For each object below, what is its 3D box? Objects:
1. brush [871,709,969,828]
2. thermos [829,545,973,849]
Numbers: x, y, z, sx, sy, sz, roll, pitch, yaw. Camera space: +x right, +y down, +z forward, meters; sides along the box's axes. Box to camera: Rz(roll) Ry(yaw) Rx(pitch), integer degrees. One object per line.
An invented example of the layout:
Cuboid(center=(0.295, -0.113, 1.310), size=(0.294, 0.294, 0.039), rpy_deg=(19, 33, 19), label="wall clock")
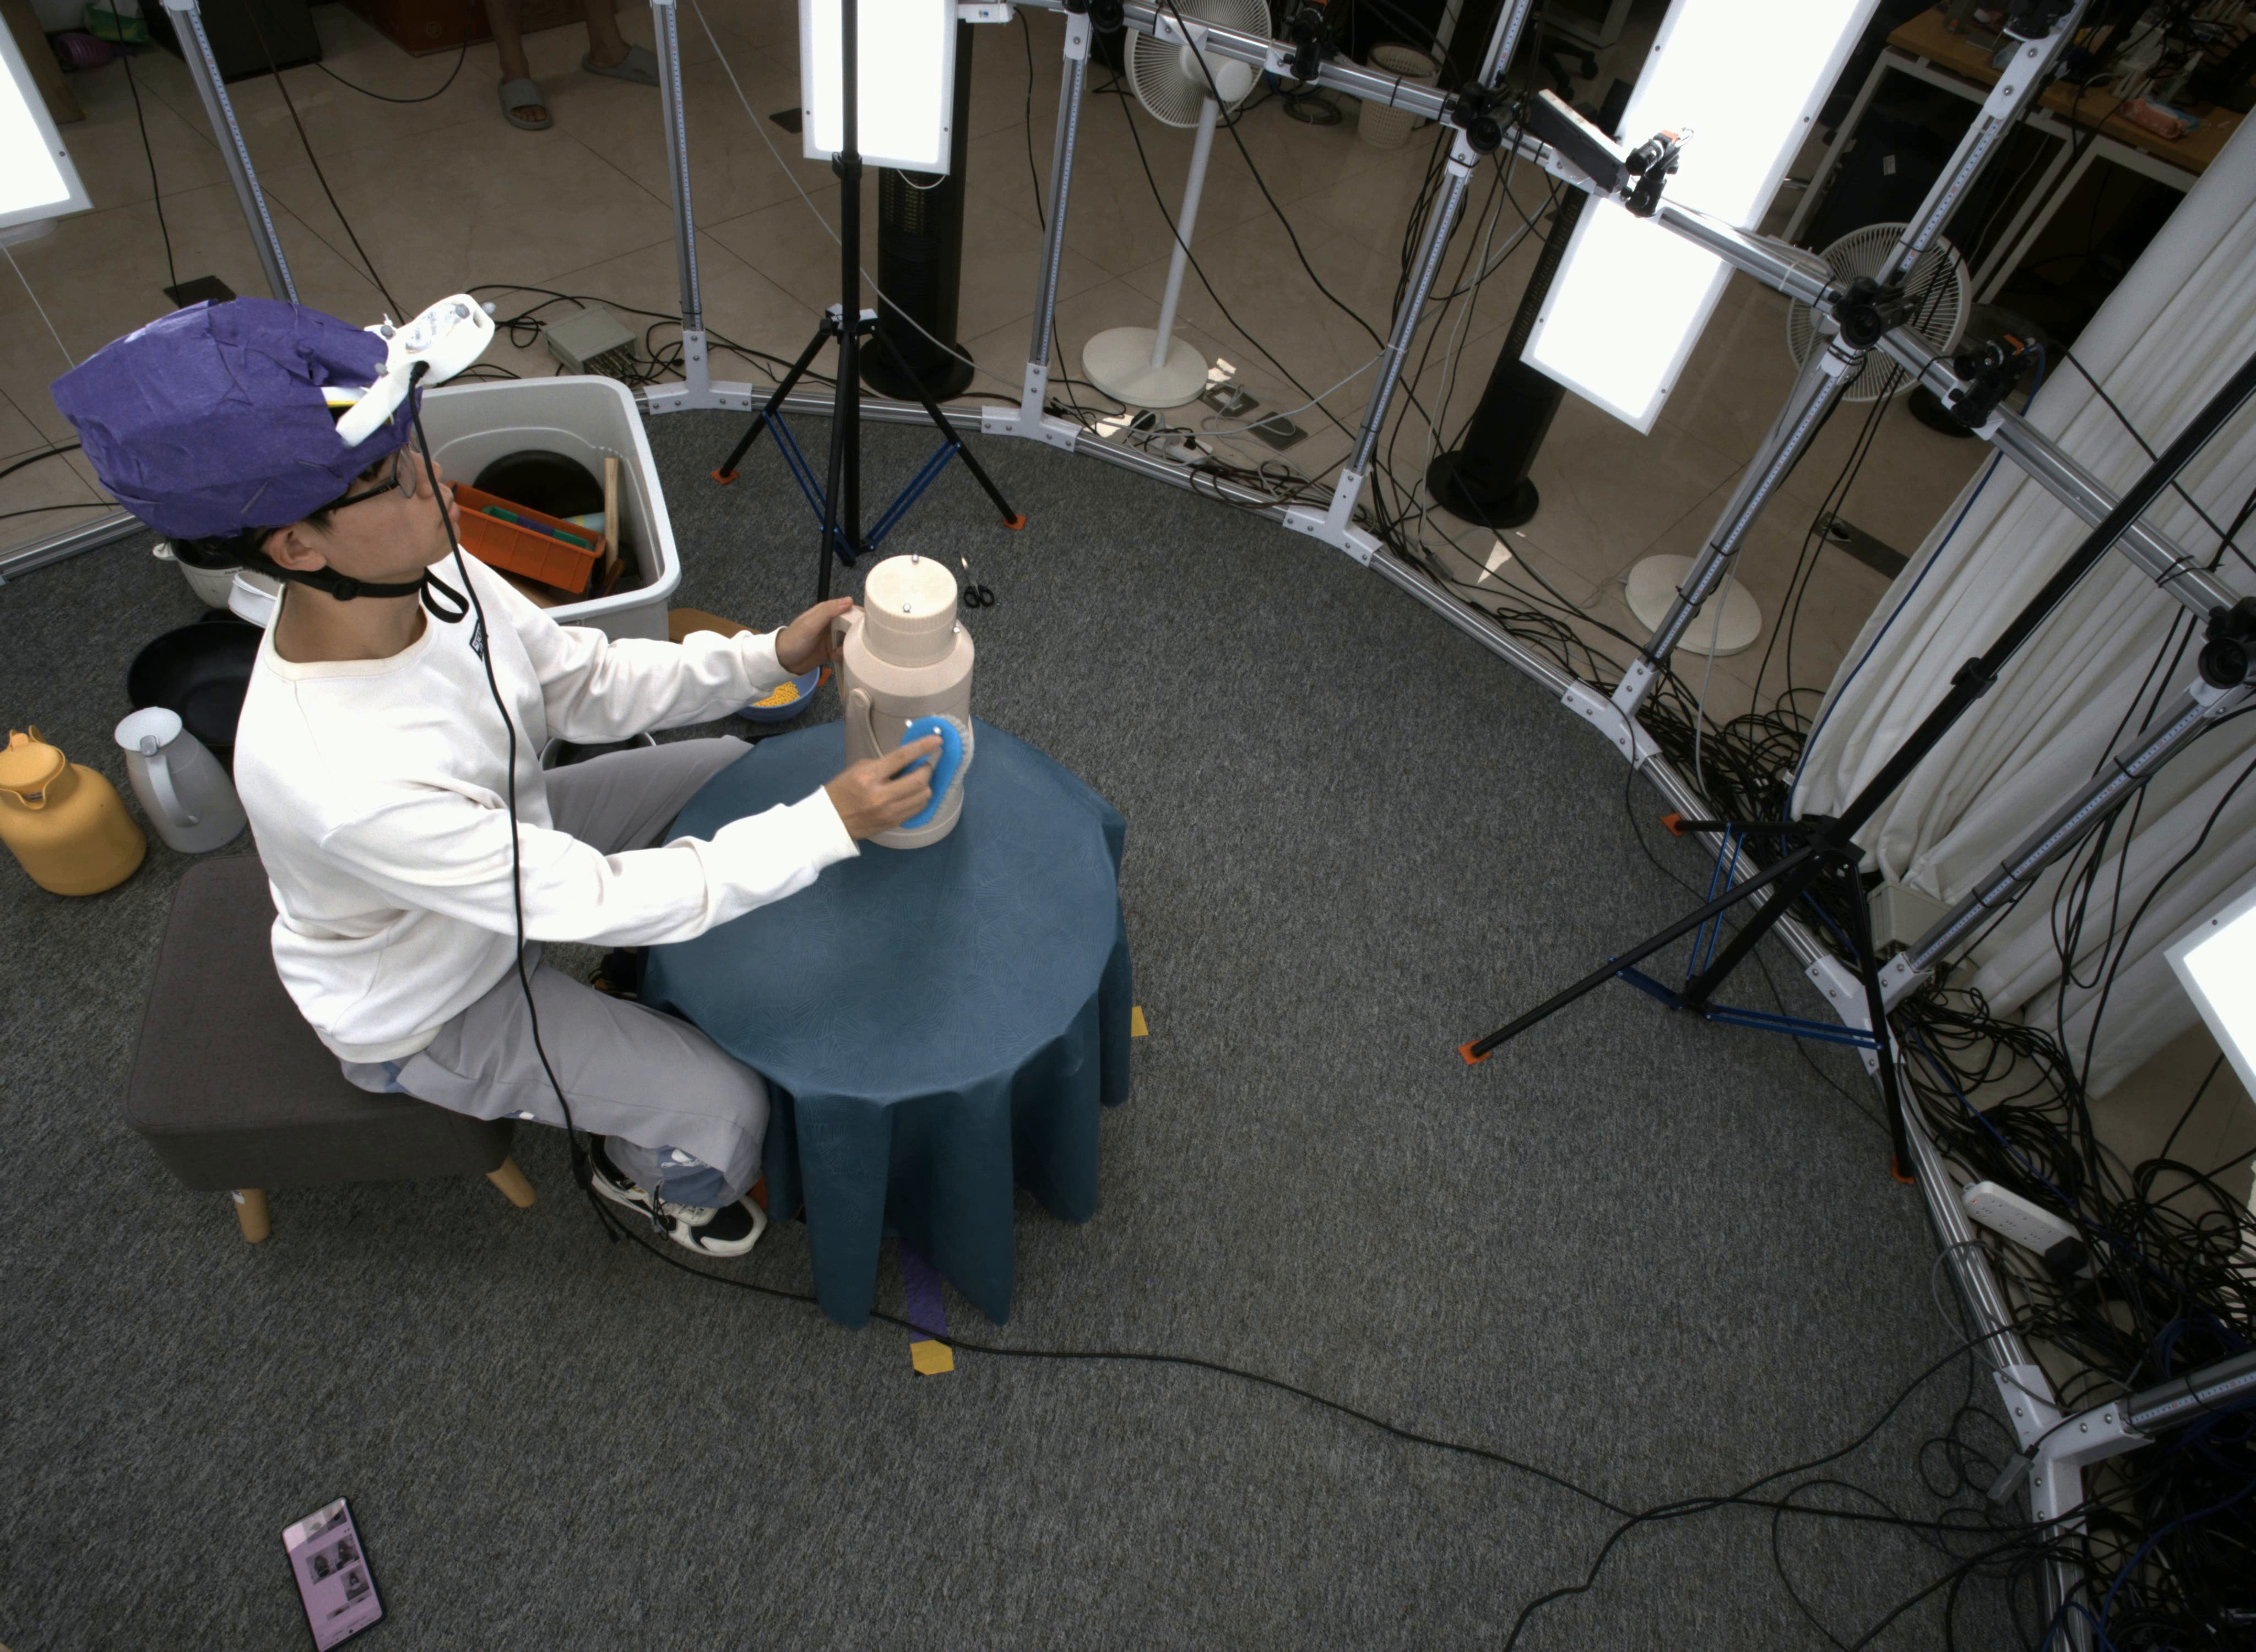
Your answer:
Cuboid(center=(-0.241, -0.061, 1.470), size=(0.084, 0.143, 0.063), rpy_deg=(32, 18, 3), label="brush")
Cuboid(center=(-0.290, -0.164, 1.634), size=(0.203, 0.415, 0.175), rpy_deg=(32, 55, 15), label="thermos")
